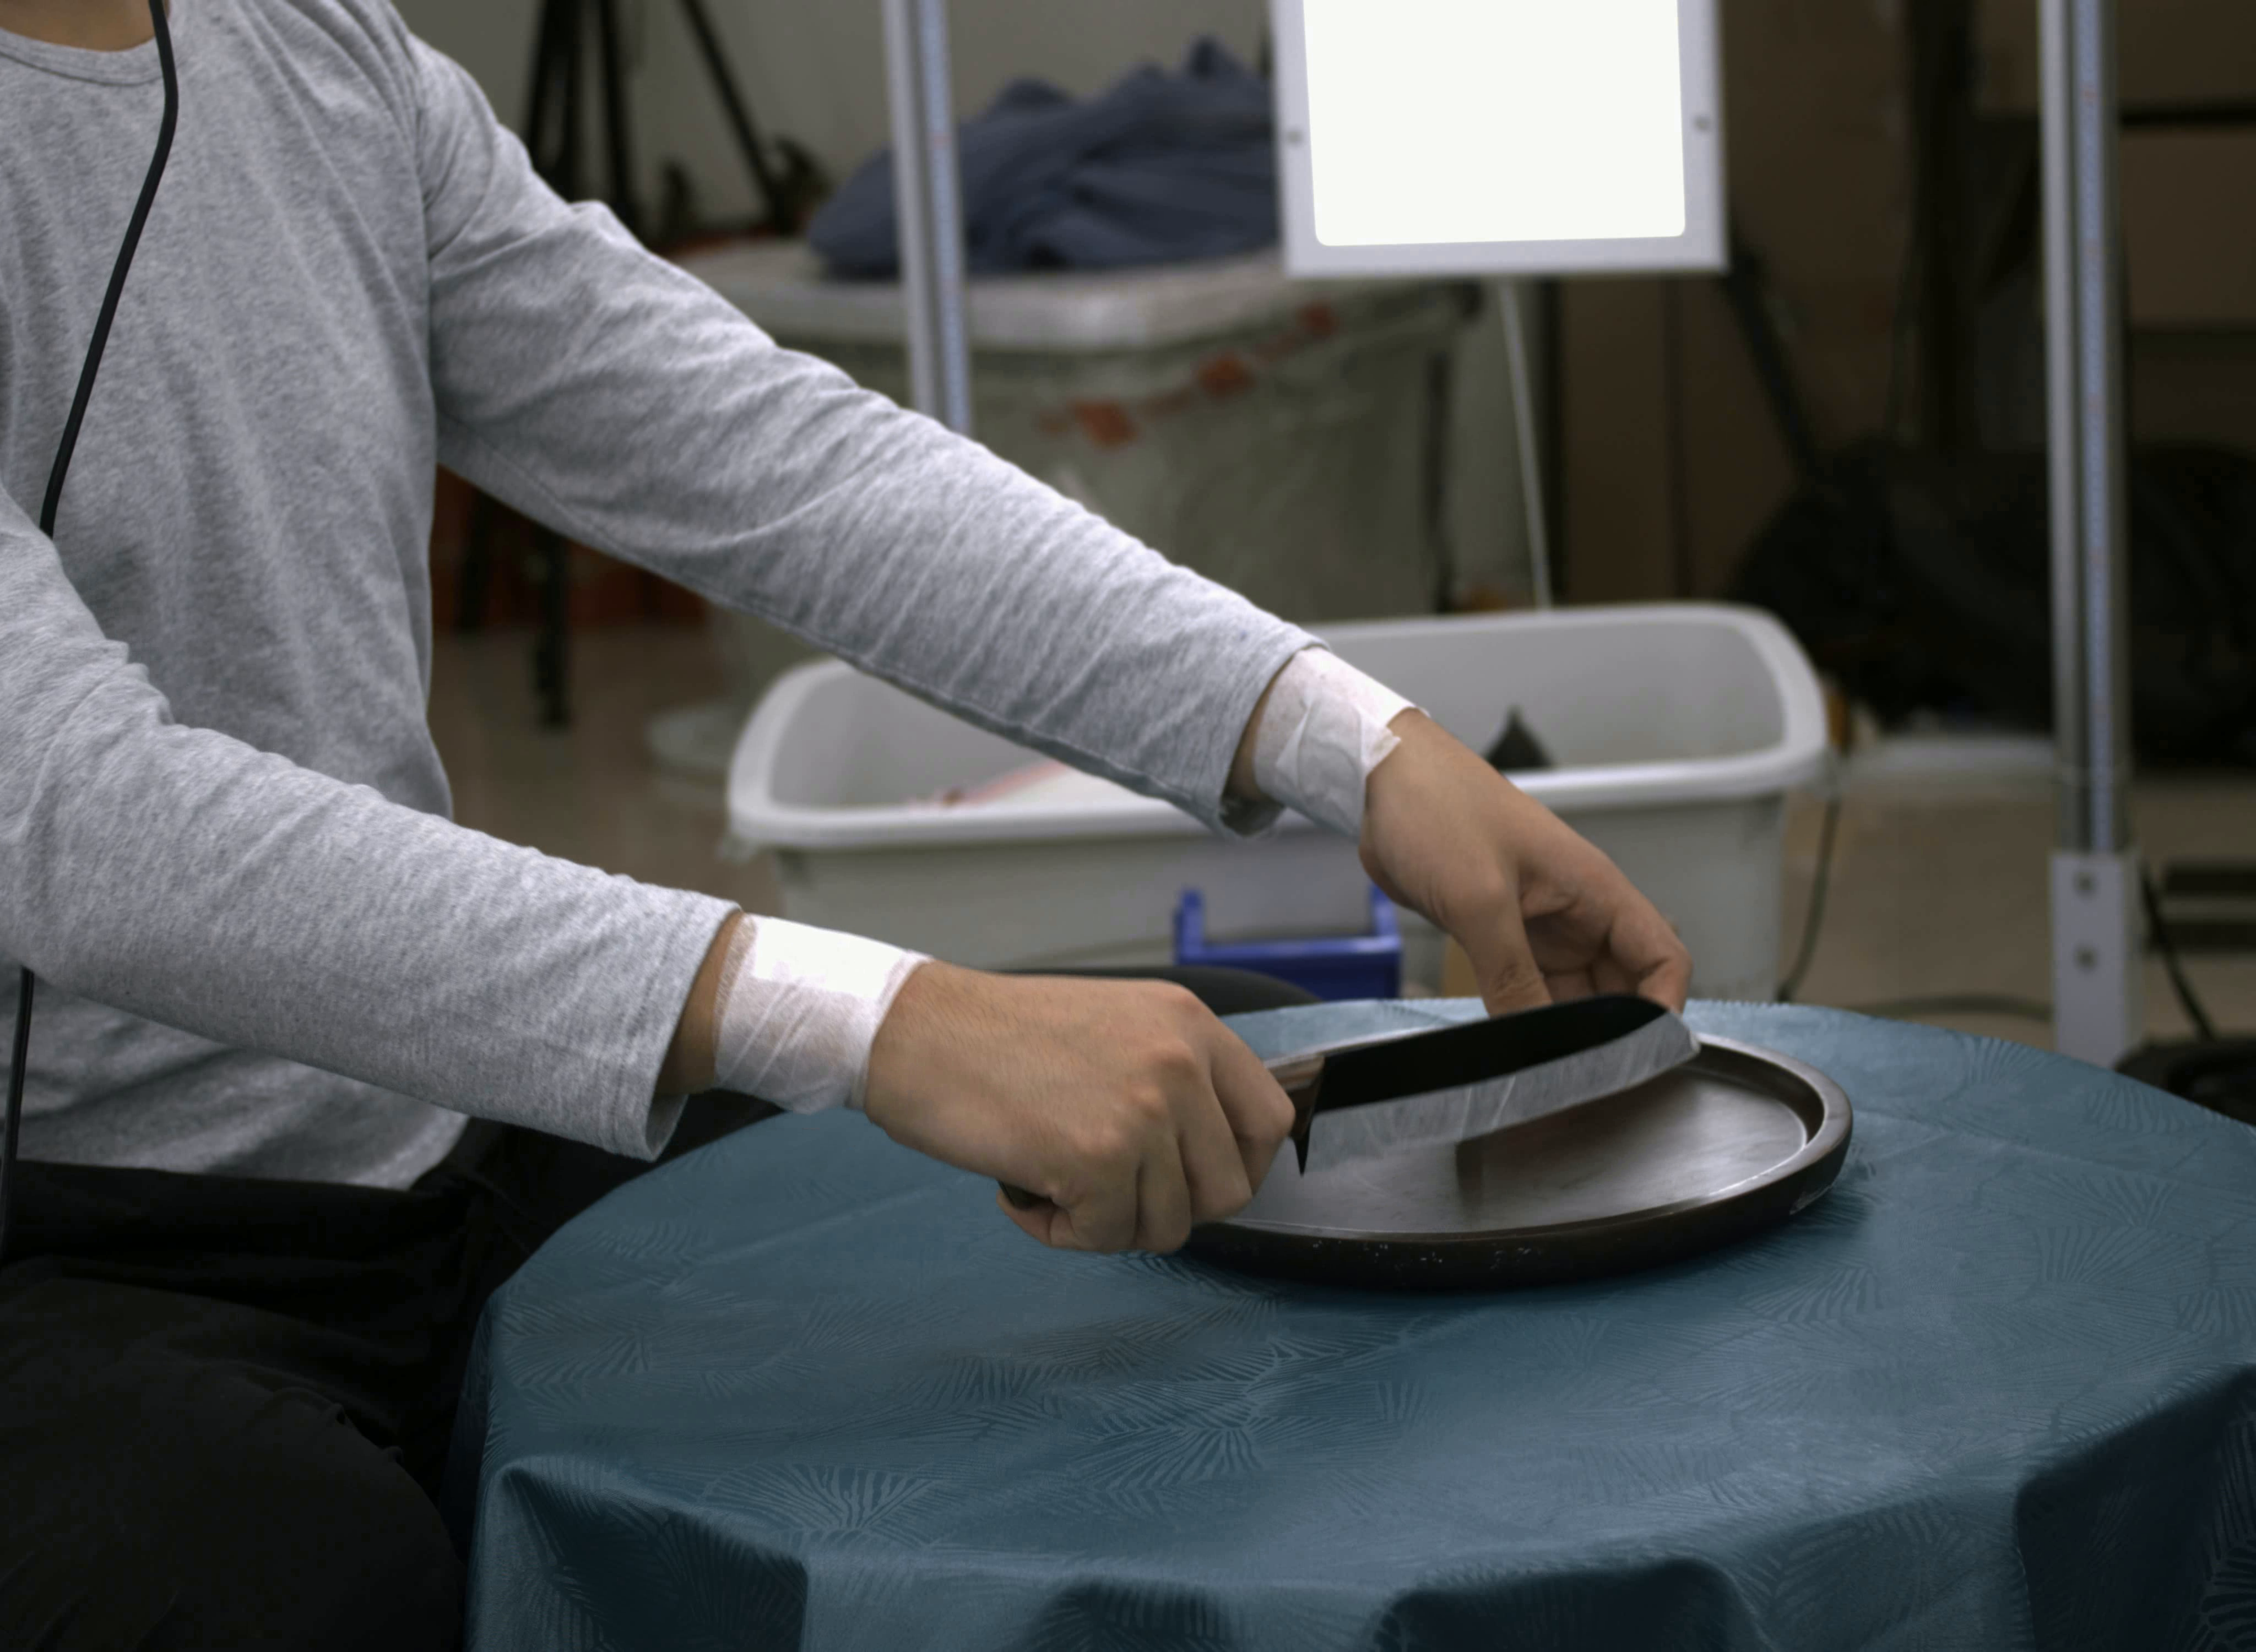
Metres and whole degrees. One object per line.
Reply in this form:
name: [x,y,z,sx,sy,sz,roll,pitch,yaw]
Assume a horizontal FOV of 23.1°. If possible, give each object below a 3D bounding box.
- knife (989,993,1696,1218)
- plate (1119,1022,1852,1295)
knife: [0.076,0.091,1.781,0.282,0.050,0.020,-9,28,-33]
plate: [0.121,0.110,1.873,0.254,0.029,0.254,-7,15,0]
